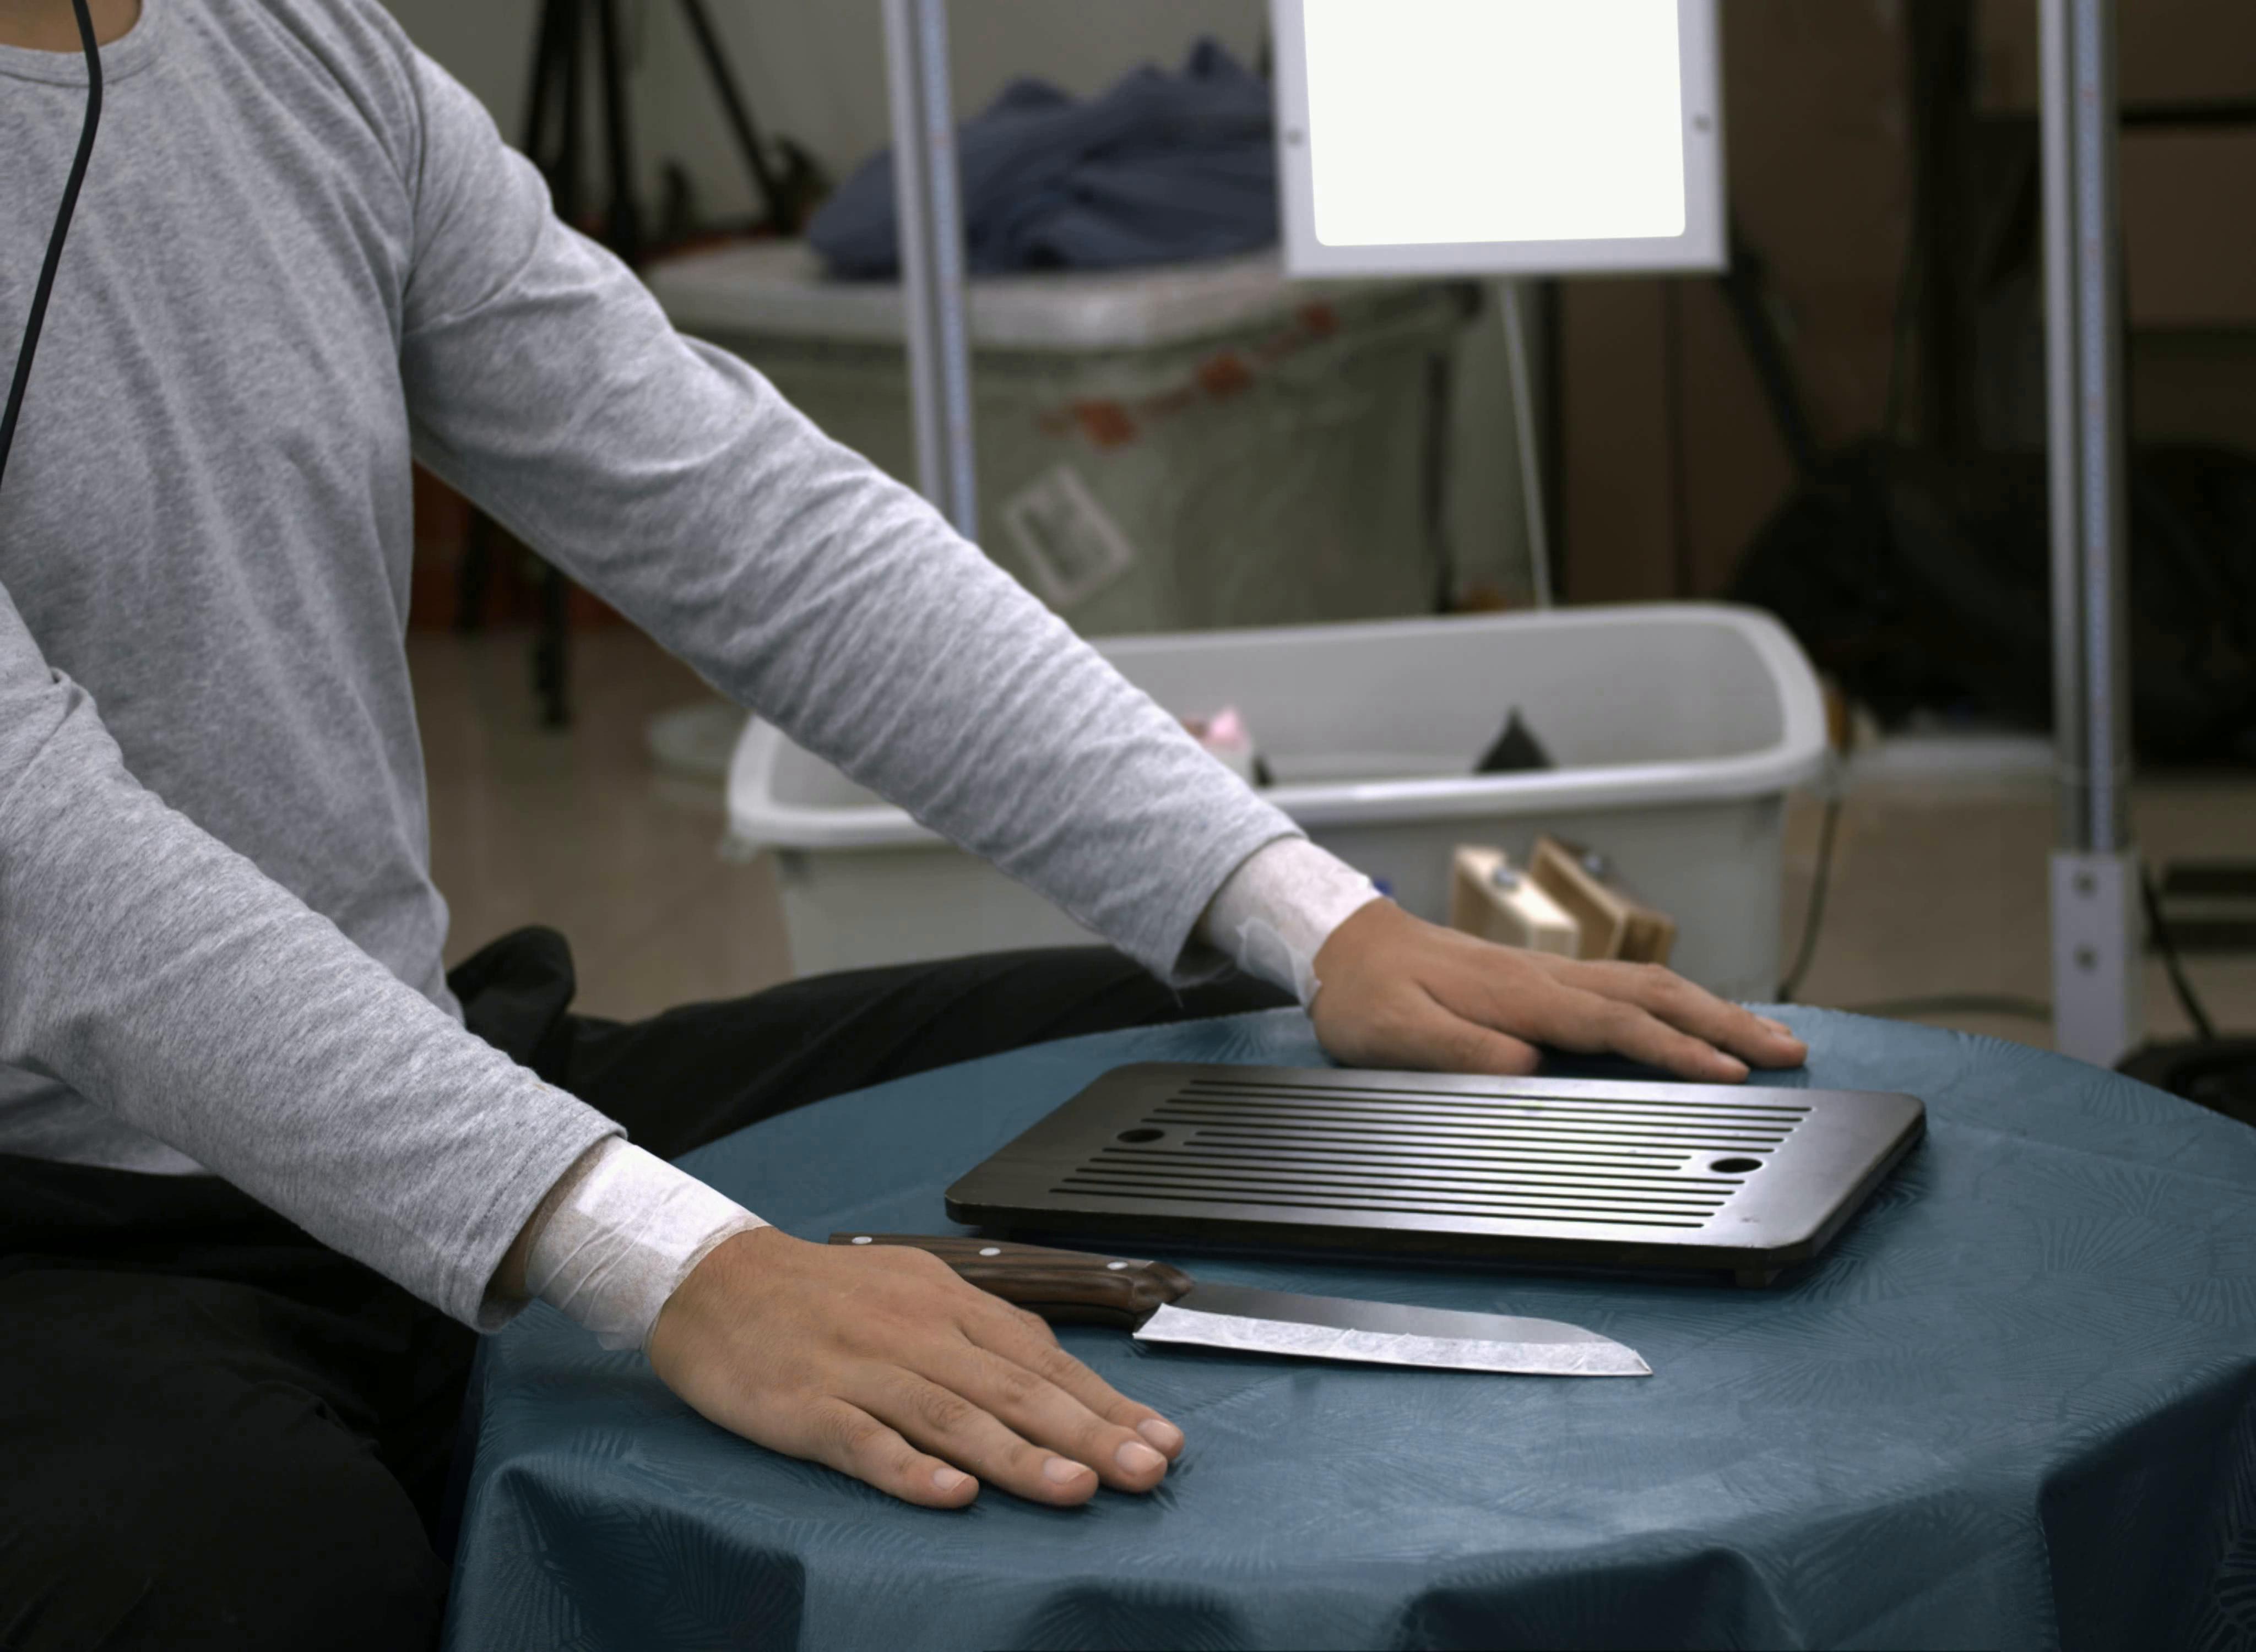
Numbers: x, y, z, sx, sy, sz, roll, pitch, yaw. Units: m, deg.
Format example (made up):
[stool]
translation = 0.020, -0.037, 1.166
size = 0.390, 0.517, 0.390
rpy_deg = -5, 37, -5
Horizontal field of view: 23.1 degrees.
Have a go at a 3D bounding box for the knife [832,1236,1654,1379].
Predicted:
[knife]
translation = 0.032, 0.155, 1.745
size = 0.294, 0.020, 0.049
rpy_deg = 5, 21, 27

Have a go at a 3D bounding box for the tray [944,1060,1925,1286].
[tray]
translation = 0.106, 0.116, 1.870
size = 0.311, 0.019, 0.166
rpy_deg = 1, 15, 26
